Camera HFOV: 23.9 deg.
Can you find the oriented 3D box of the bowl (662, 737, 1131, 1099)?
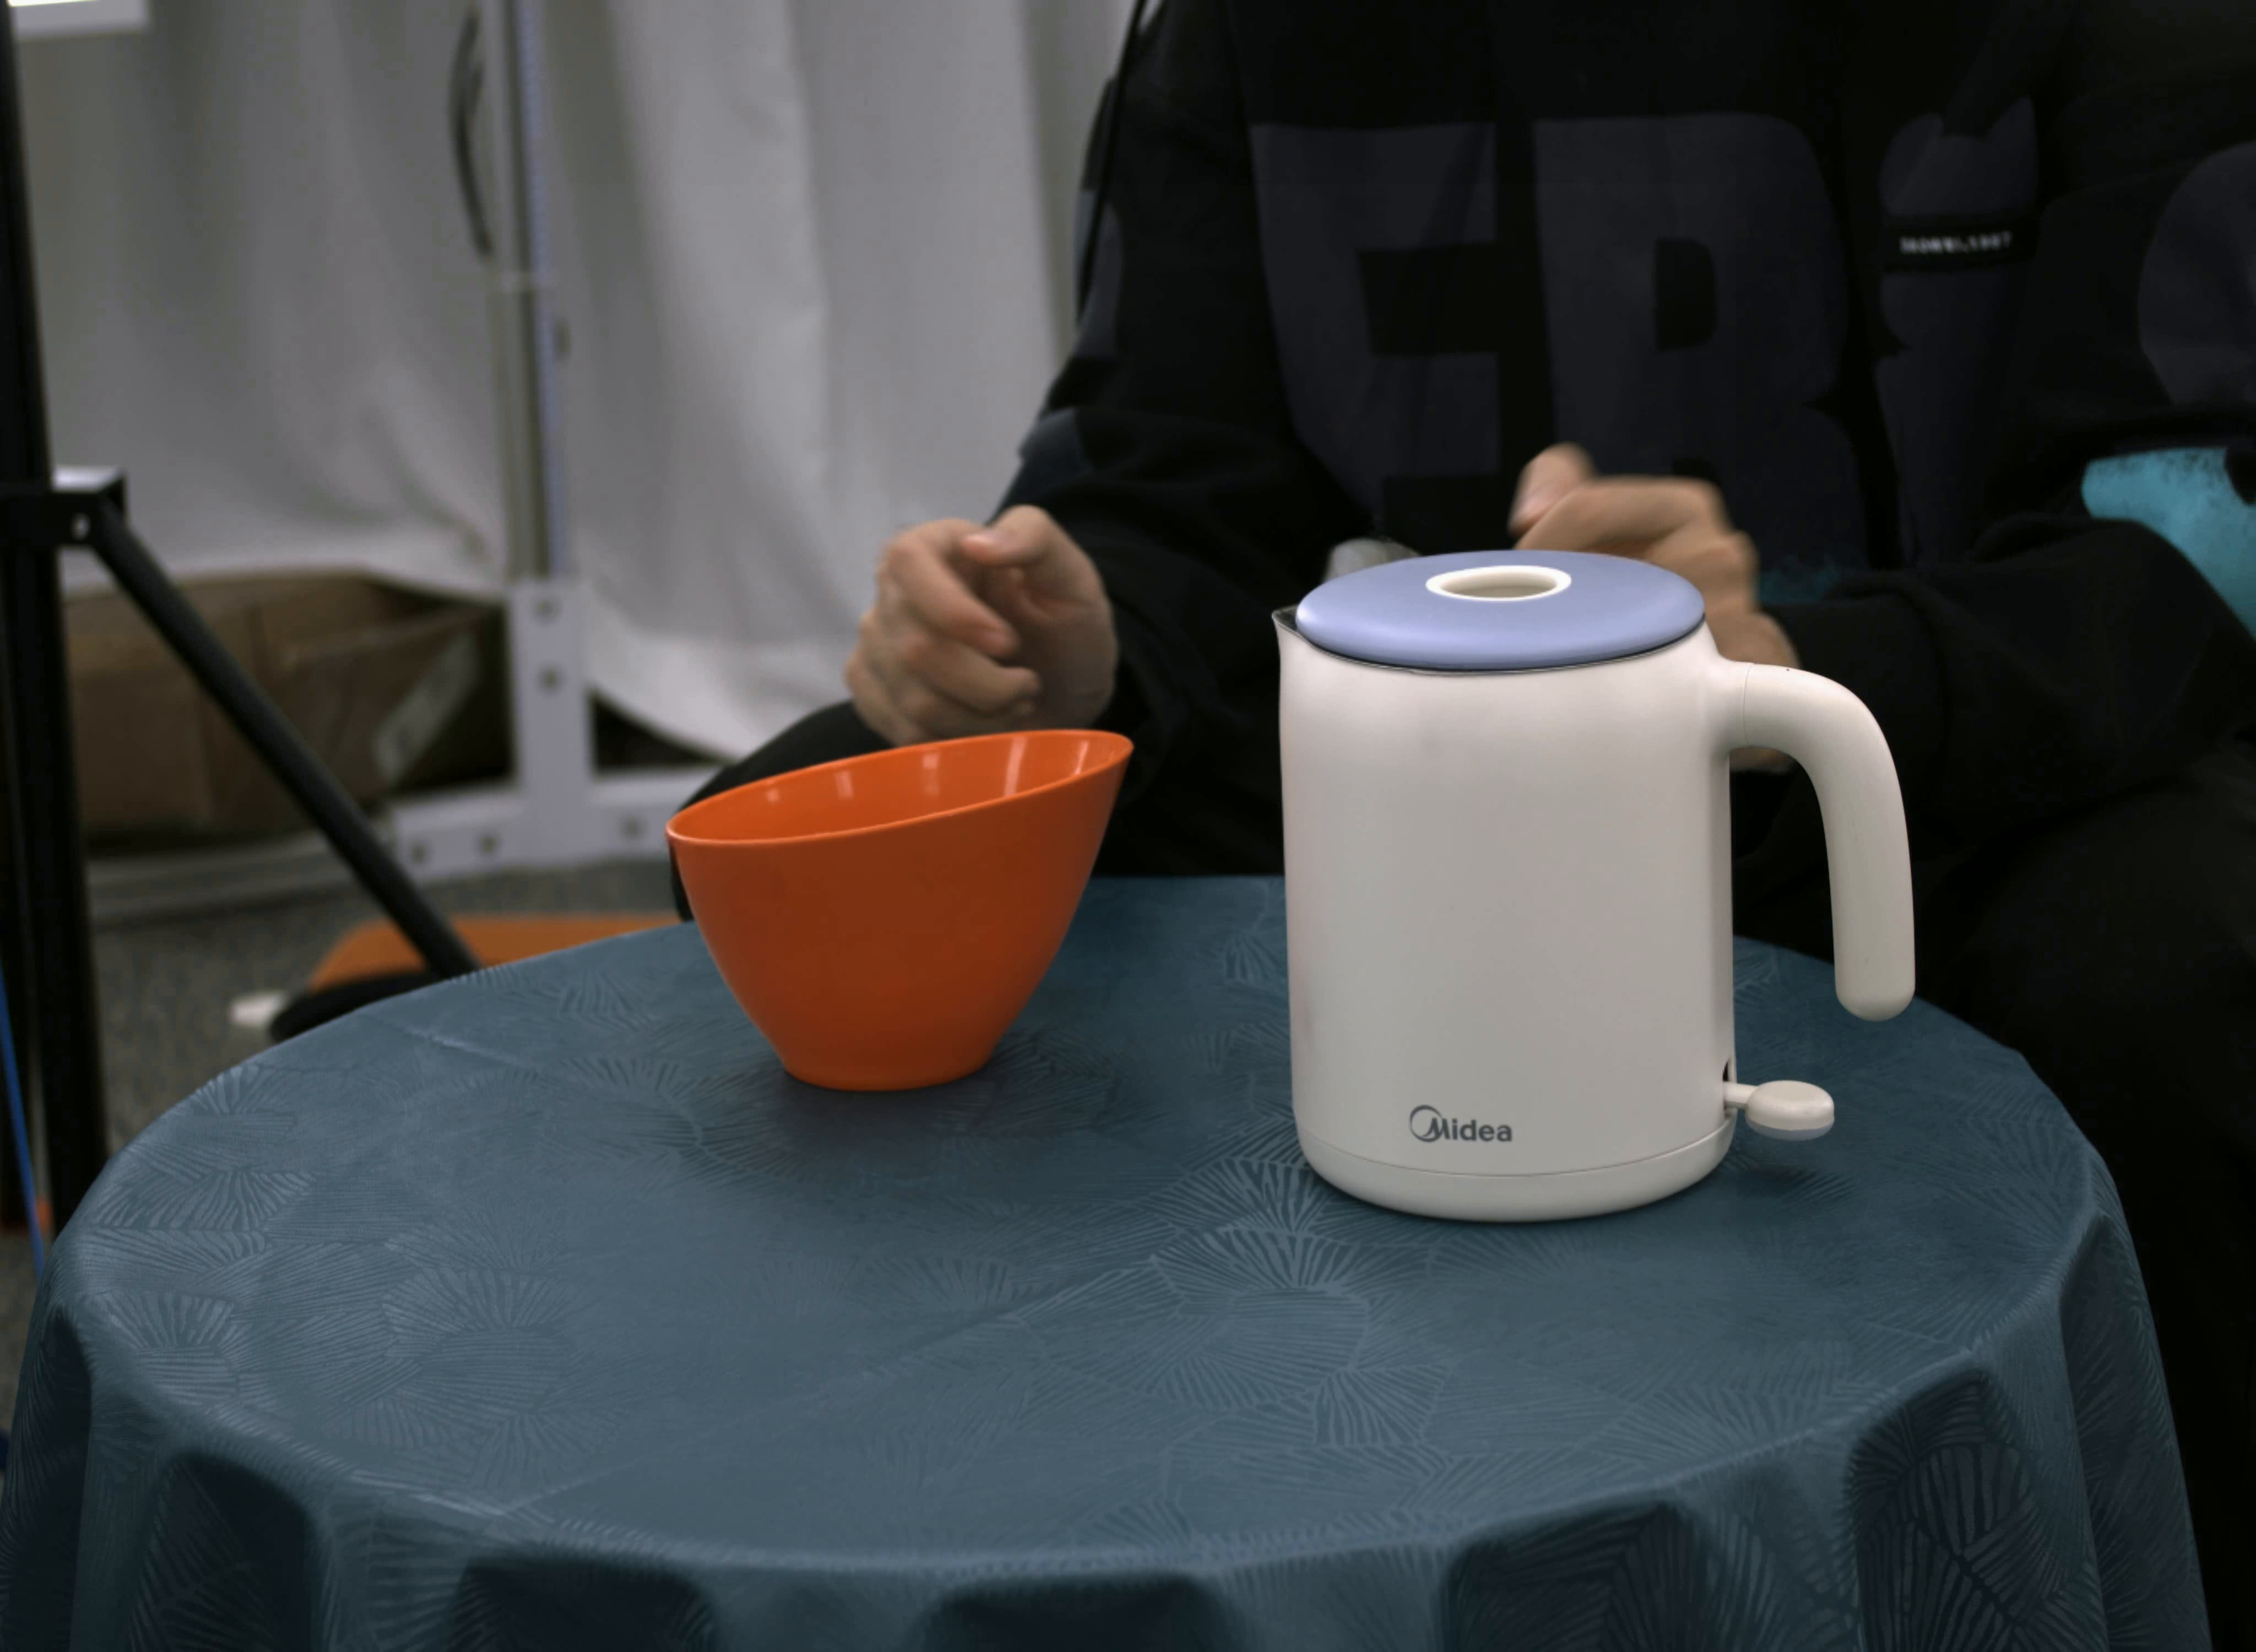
[{"bbox_3d":[-0.071,0.028,1.668,0.147,0.104,0.149,-3,16,-1],"label":"bowl"}]

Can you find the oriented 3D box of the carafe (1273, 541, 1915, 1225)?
[{"bbox_3d":[0.134,0.018,1.542,0.193,0.182,0.131,5,18,17],"label":"carafe"}]
